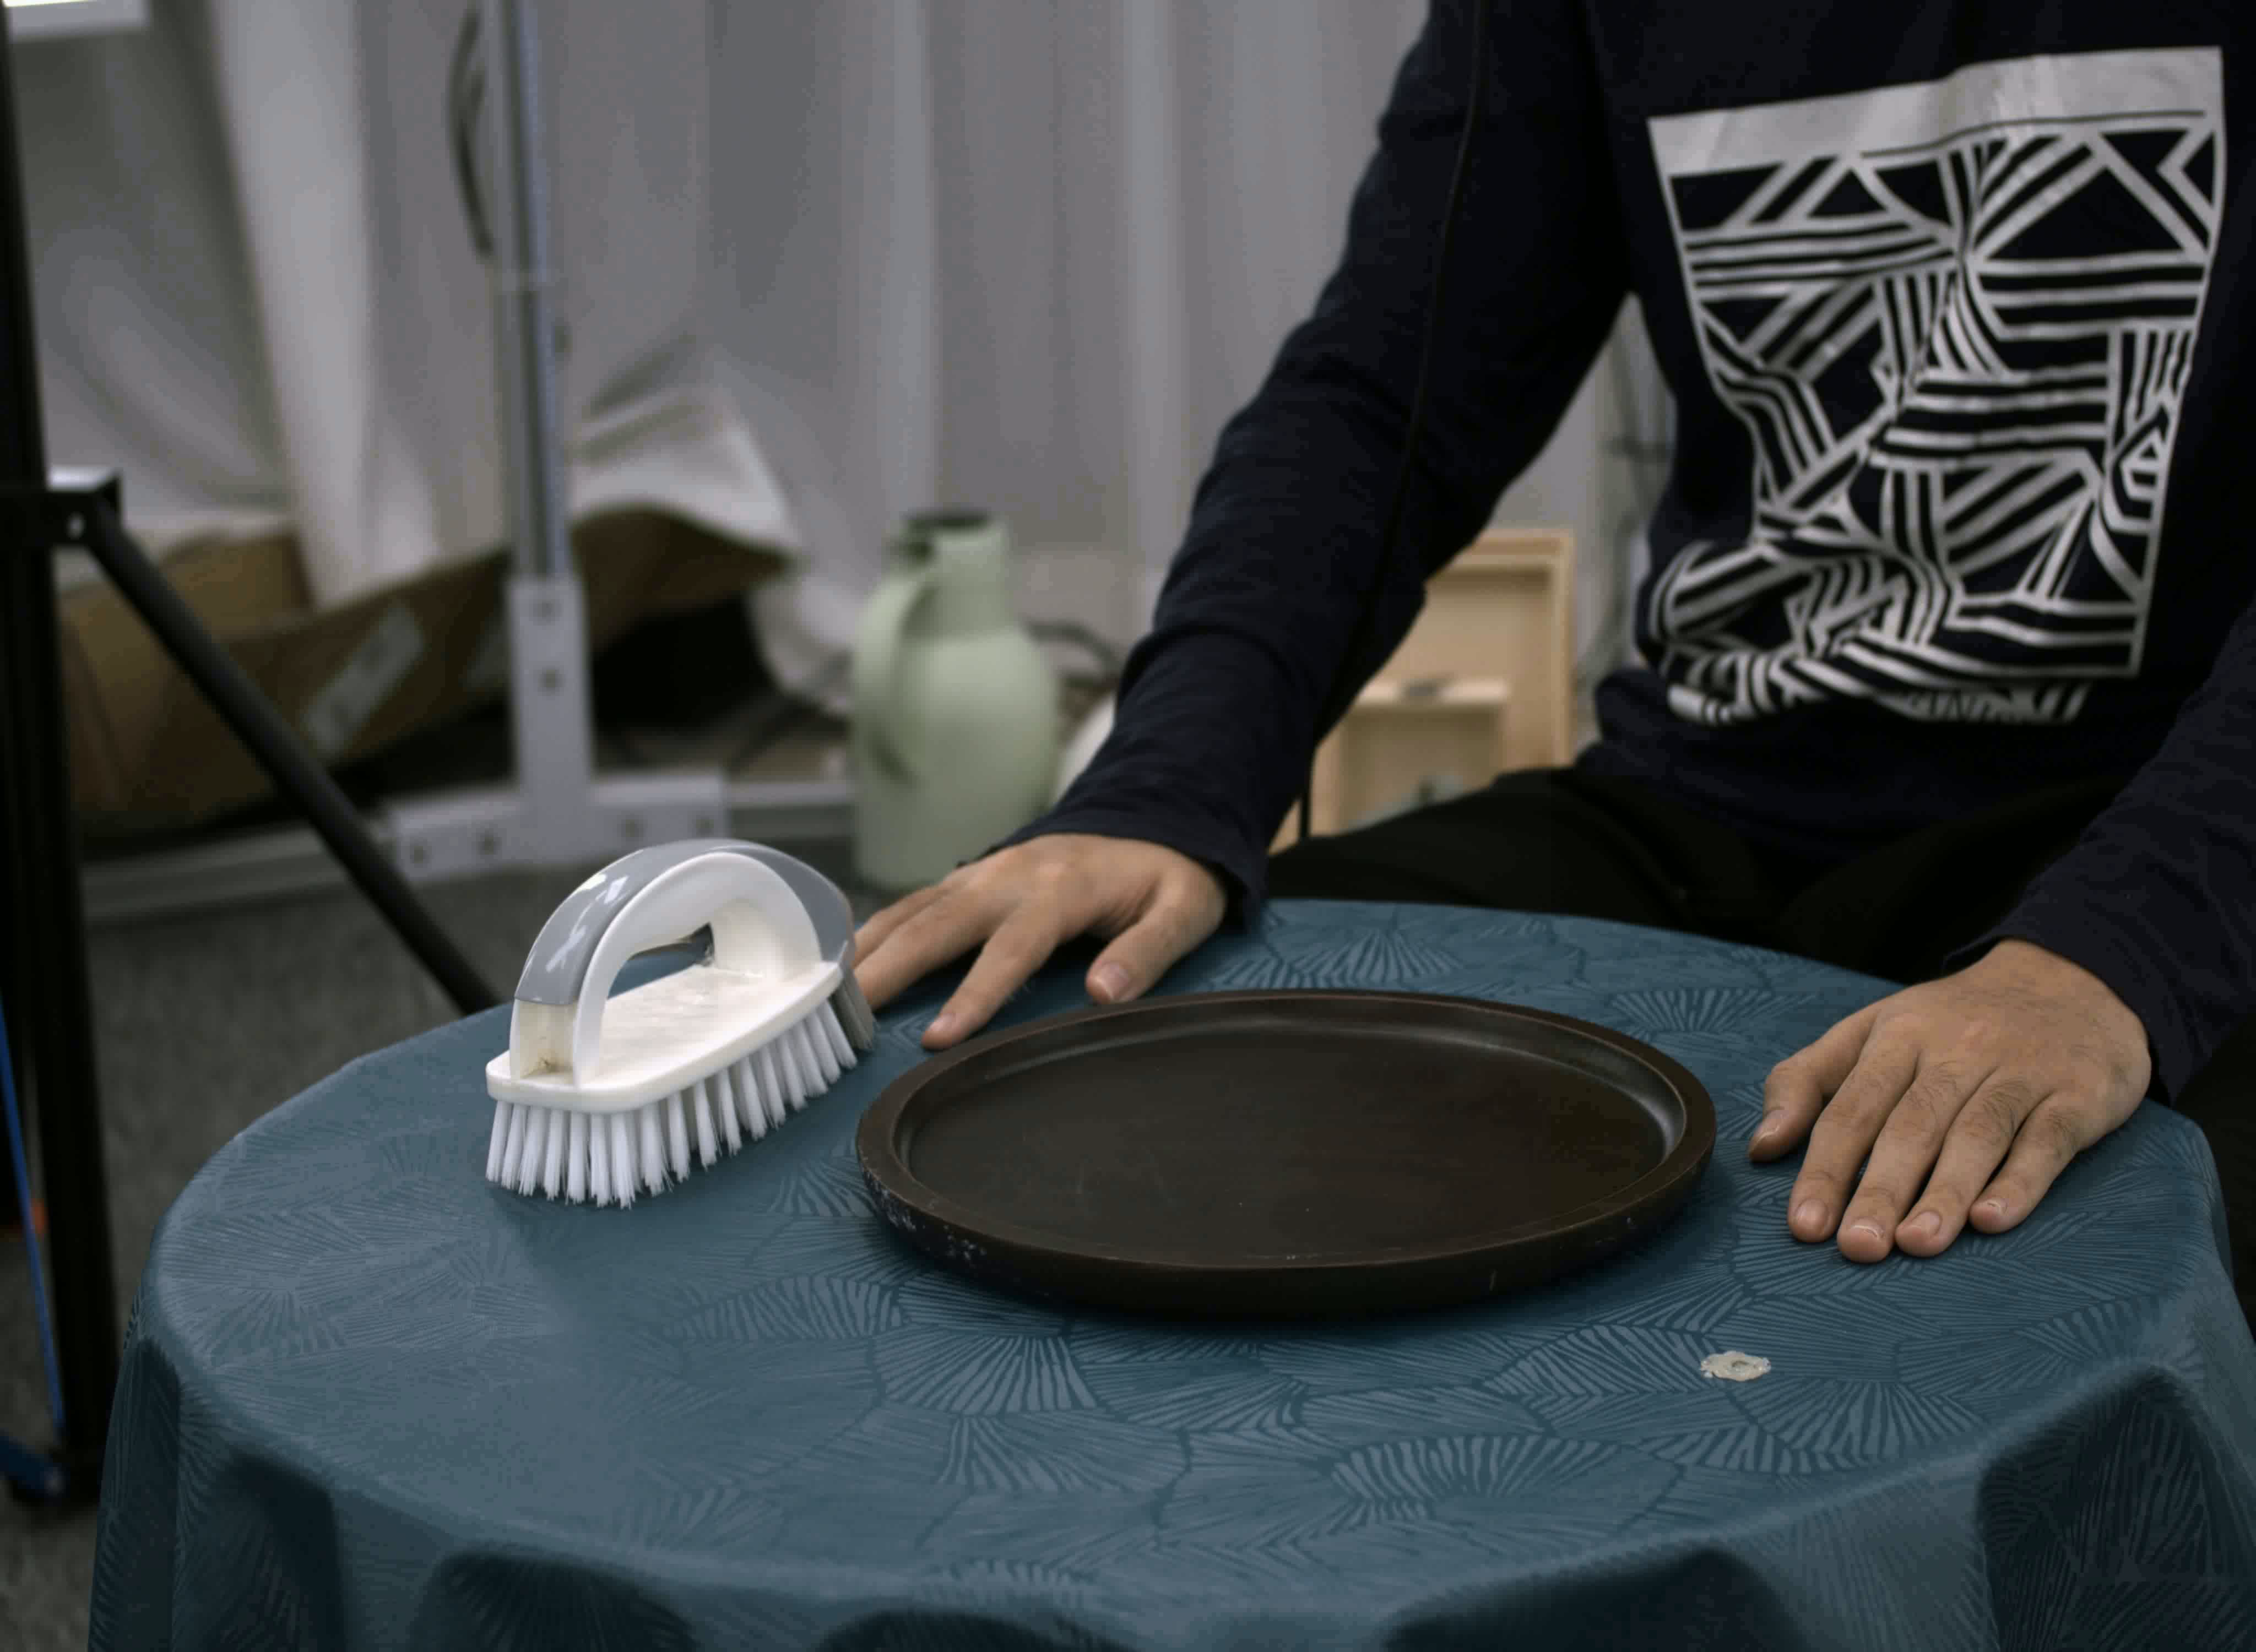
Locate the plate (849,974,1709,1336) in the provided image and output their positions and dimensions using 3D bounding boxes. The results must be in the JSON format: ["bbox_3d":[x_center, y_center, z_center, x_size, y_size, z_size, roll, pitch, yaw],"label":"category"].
[{"bbox_3d":[0.045,0.095,1.558,0.253,0.029,0.256,-3,17,0],"label":"plate"}]

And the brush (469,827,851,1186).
[{"bbox_3d":[-0.134,0.045,1.636,0.062,0.094,0.172,8,16,29],"label":"brush"}]
